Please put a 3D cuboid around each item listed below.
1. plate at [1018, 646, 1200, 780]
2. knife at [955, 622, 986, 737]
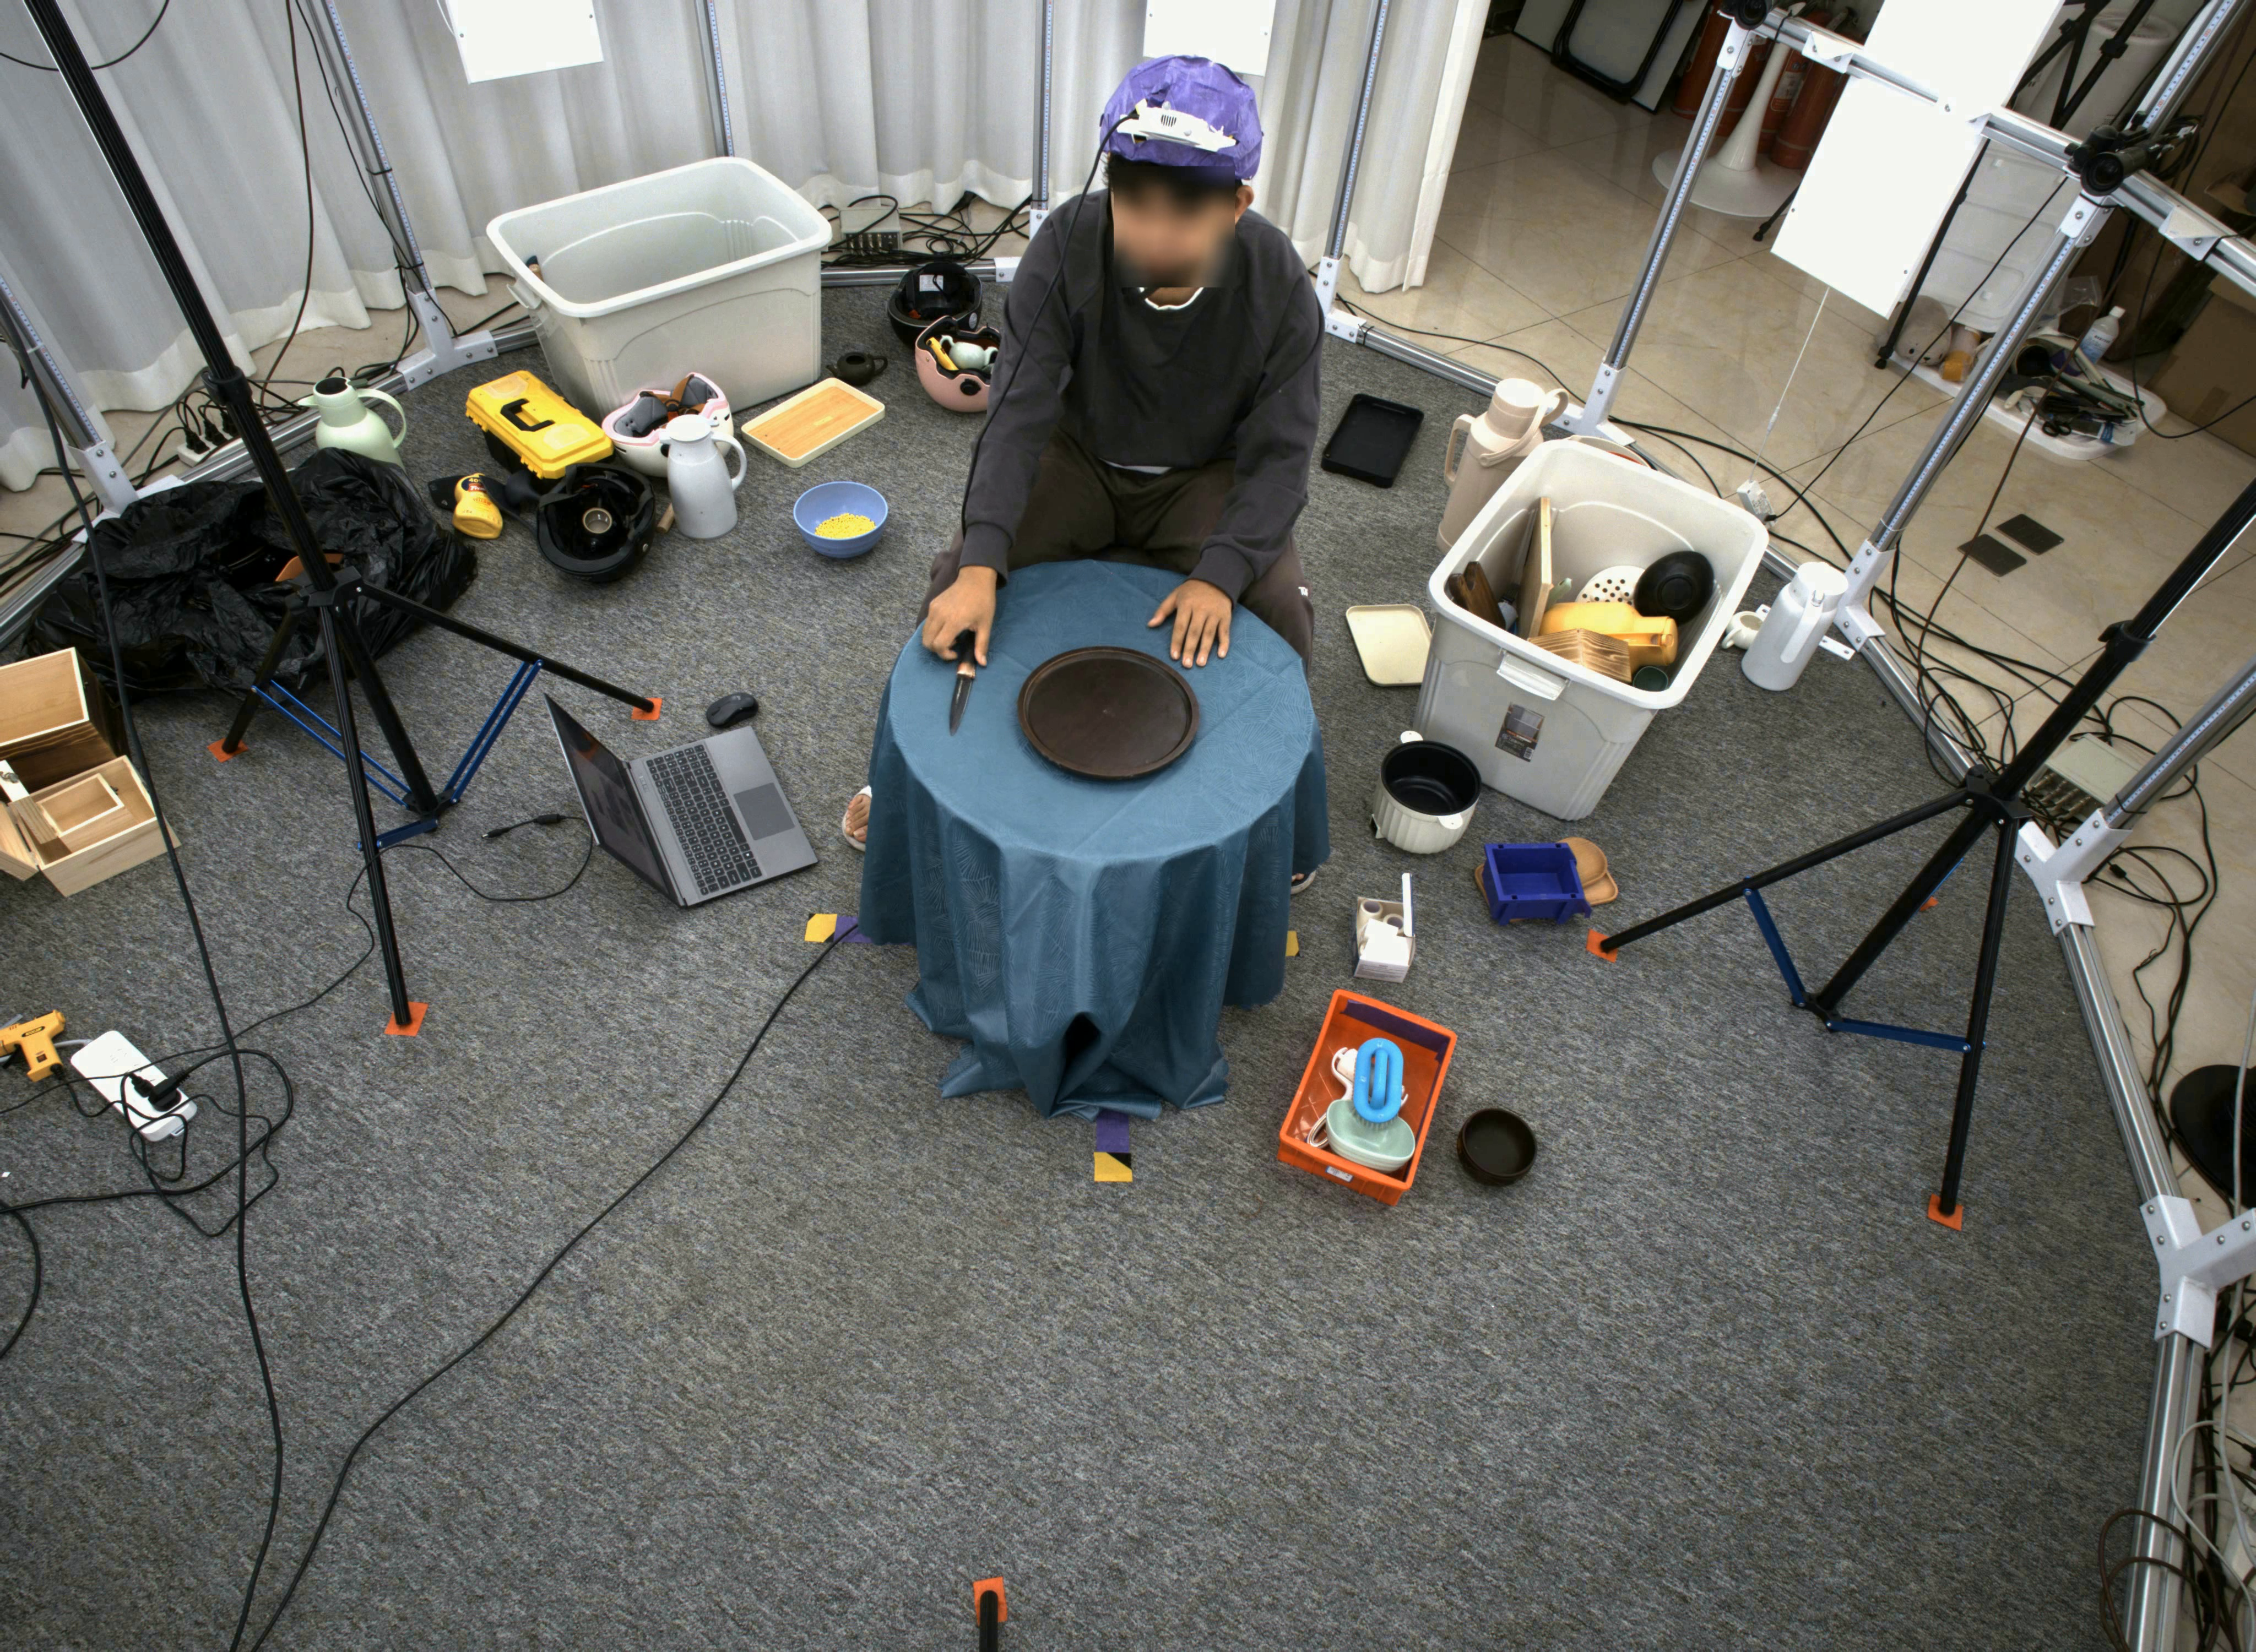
[{"bbox_3d":[-0.027,-0.159,1.787,0.254,0.028,0.261,1,48,-2],"label":"plate"},{"bbox_3d":[-0.226,-0.210,1.824,0.026,0.017,0.231,10,49,-4],"label":"knife"}]
